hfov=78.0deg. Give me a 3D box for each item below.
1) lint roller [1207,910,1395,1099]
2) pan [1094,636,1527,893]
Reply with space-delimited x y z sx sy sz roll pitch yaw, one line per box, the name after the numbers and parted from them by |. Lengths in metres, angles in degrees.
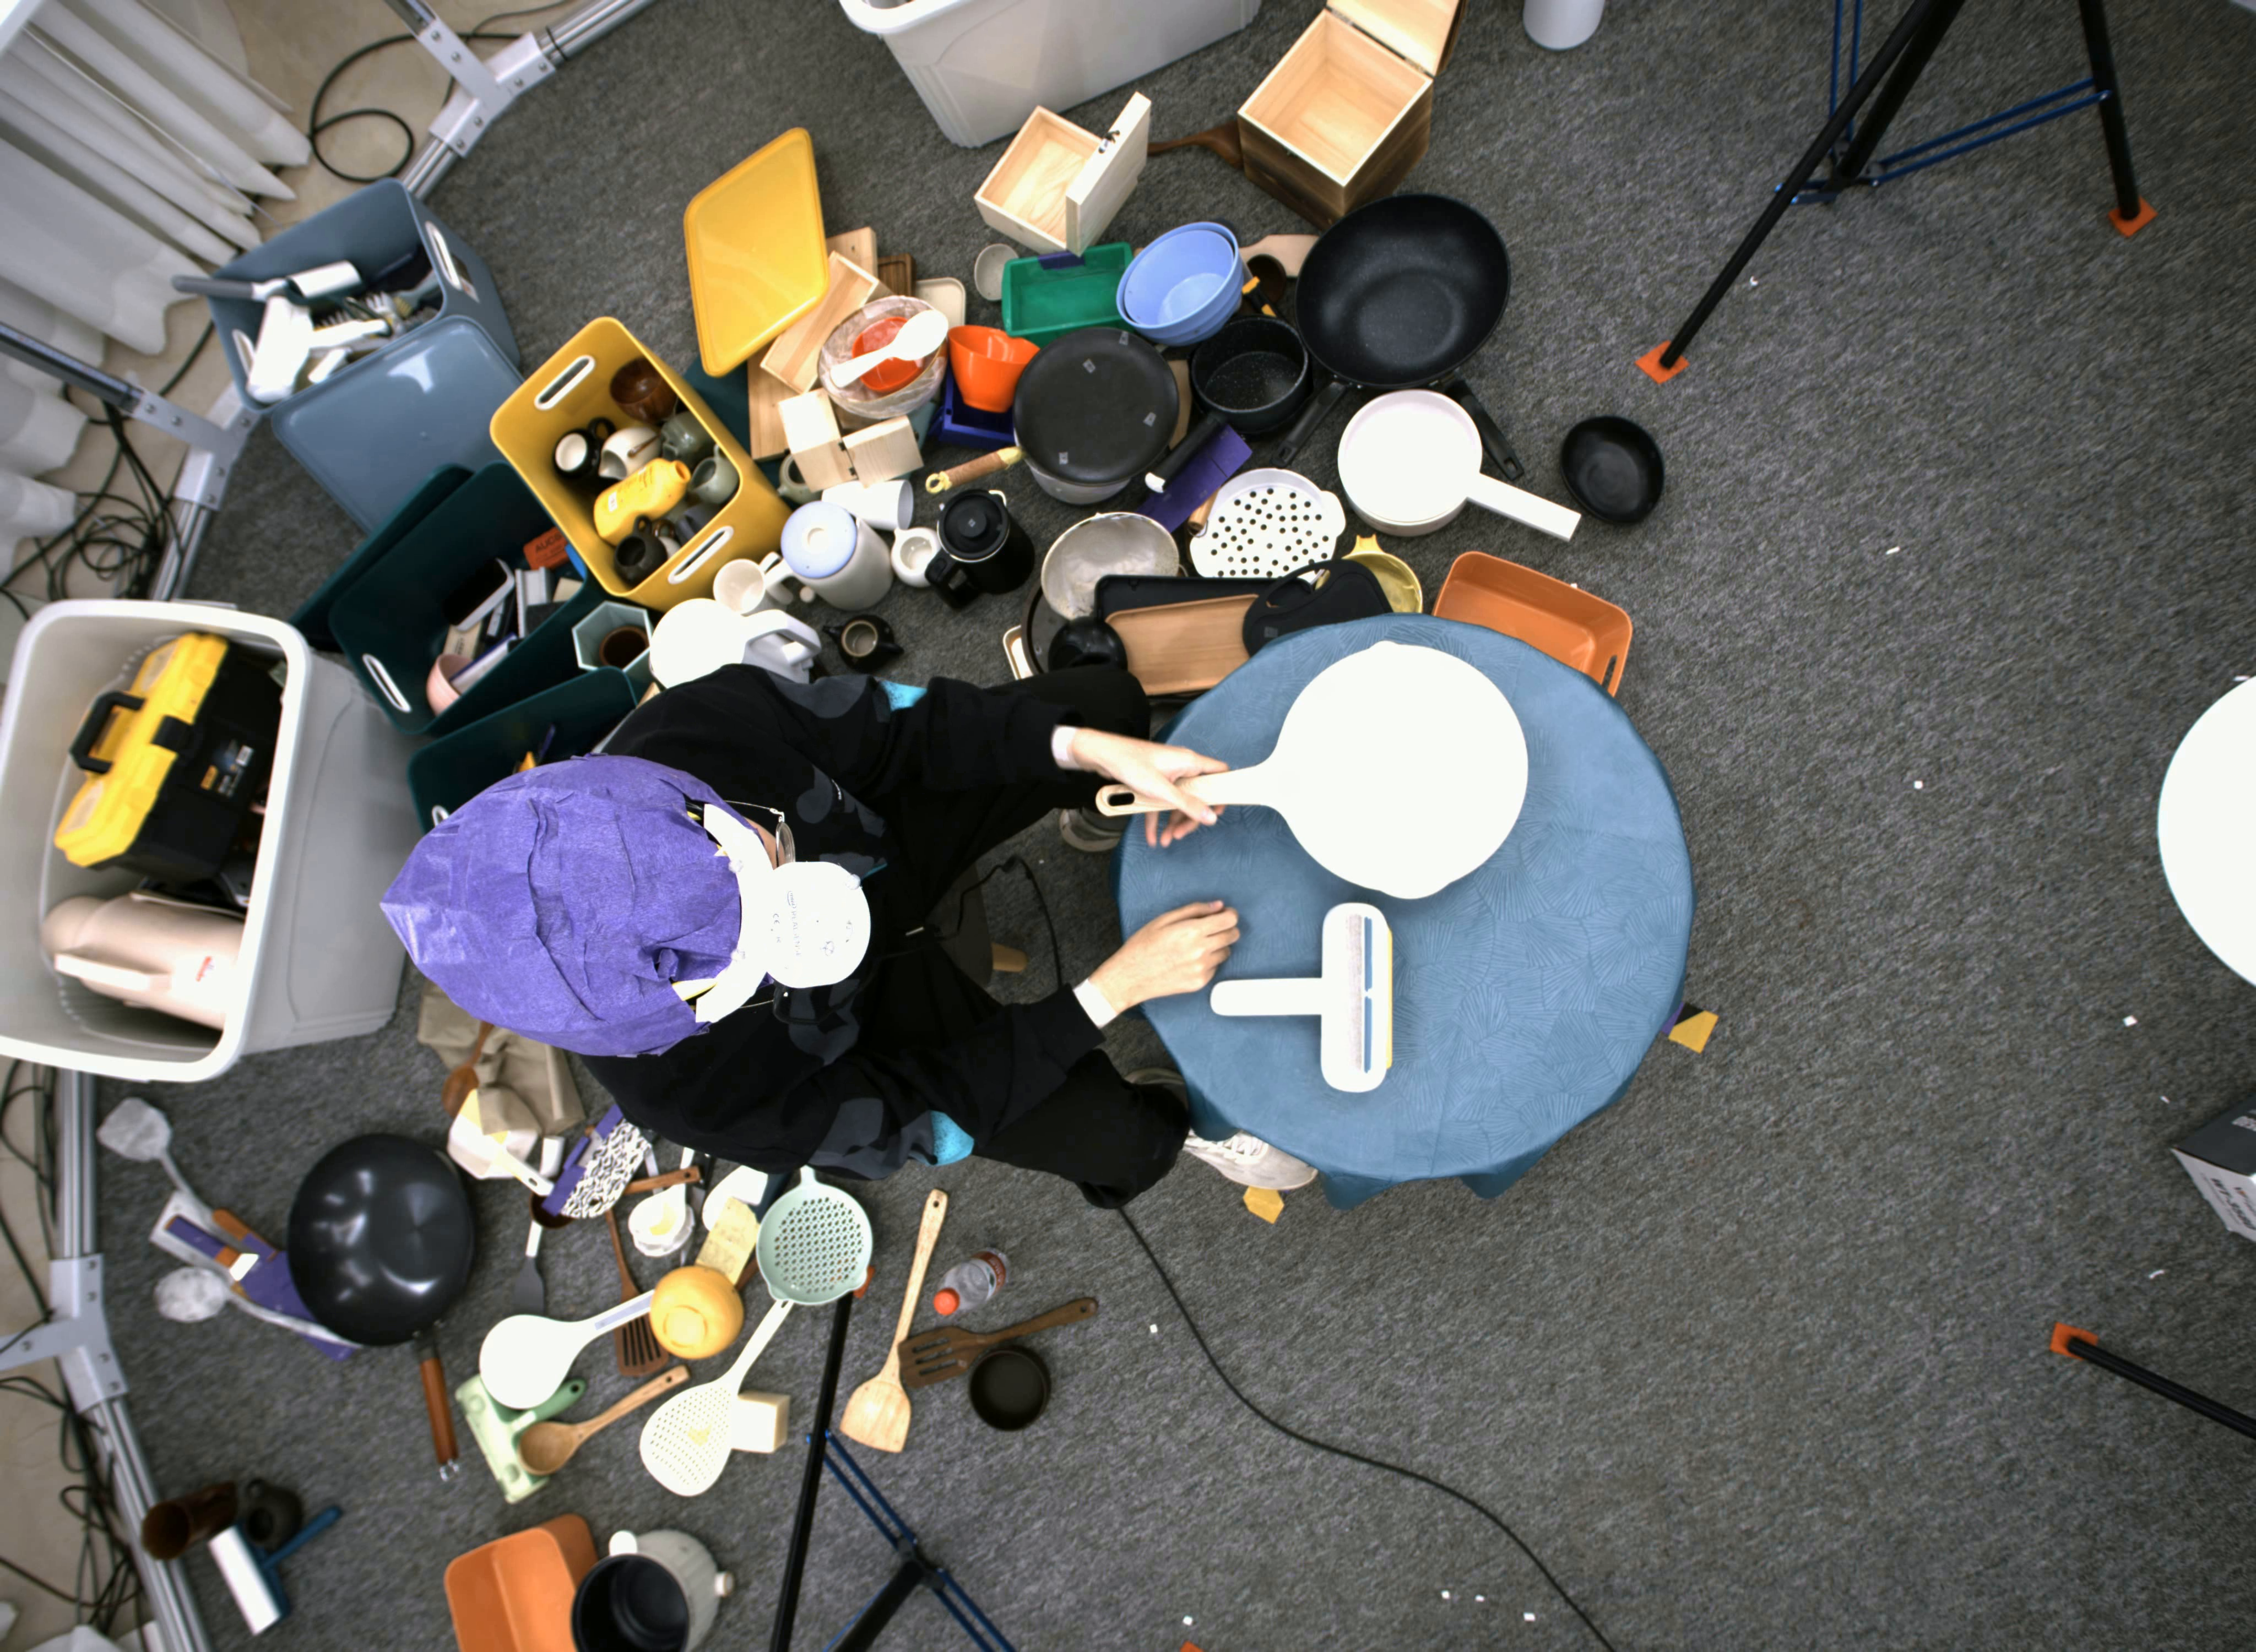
0.175 0.178 1.433 0.193 0.074 0.191 4 82 12 | lint roller
0.186 -0.050 1.426 0.437 0.102 0.262 -8 88 10 | pan
